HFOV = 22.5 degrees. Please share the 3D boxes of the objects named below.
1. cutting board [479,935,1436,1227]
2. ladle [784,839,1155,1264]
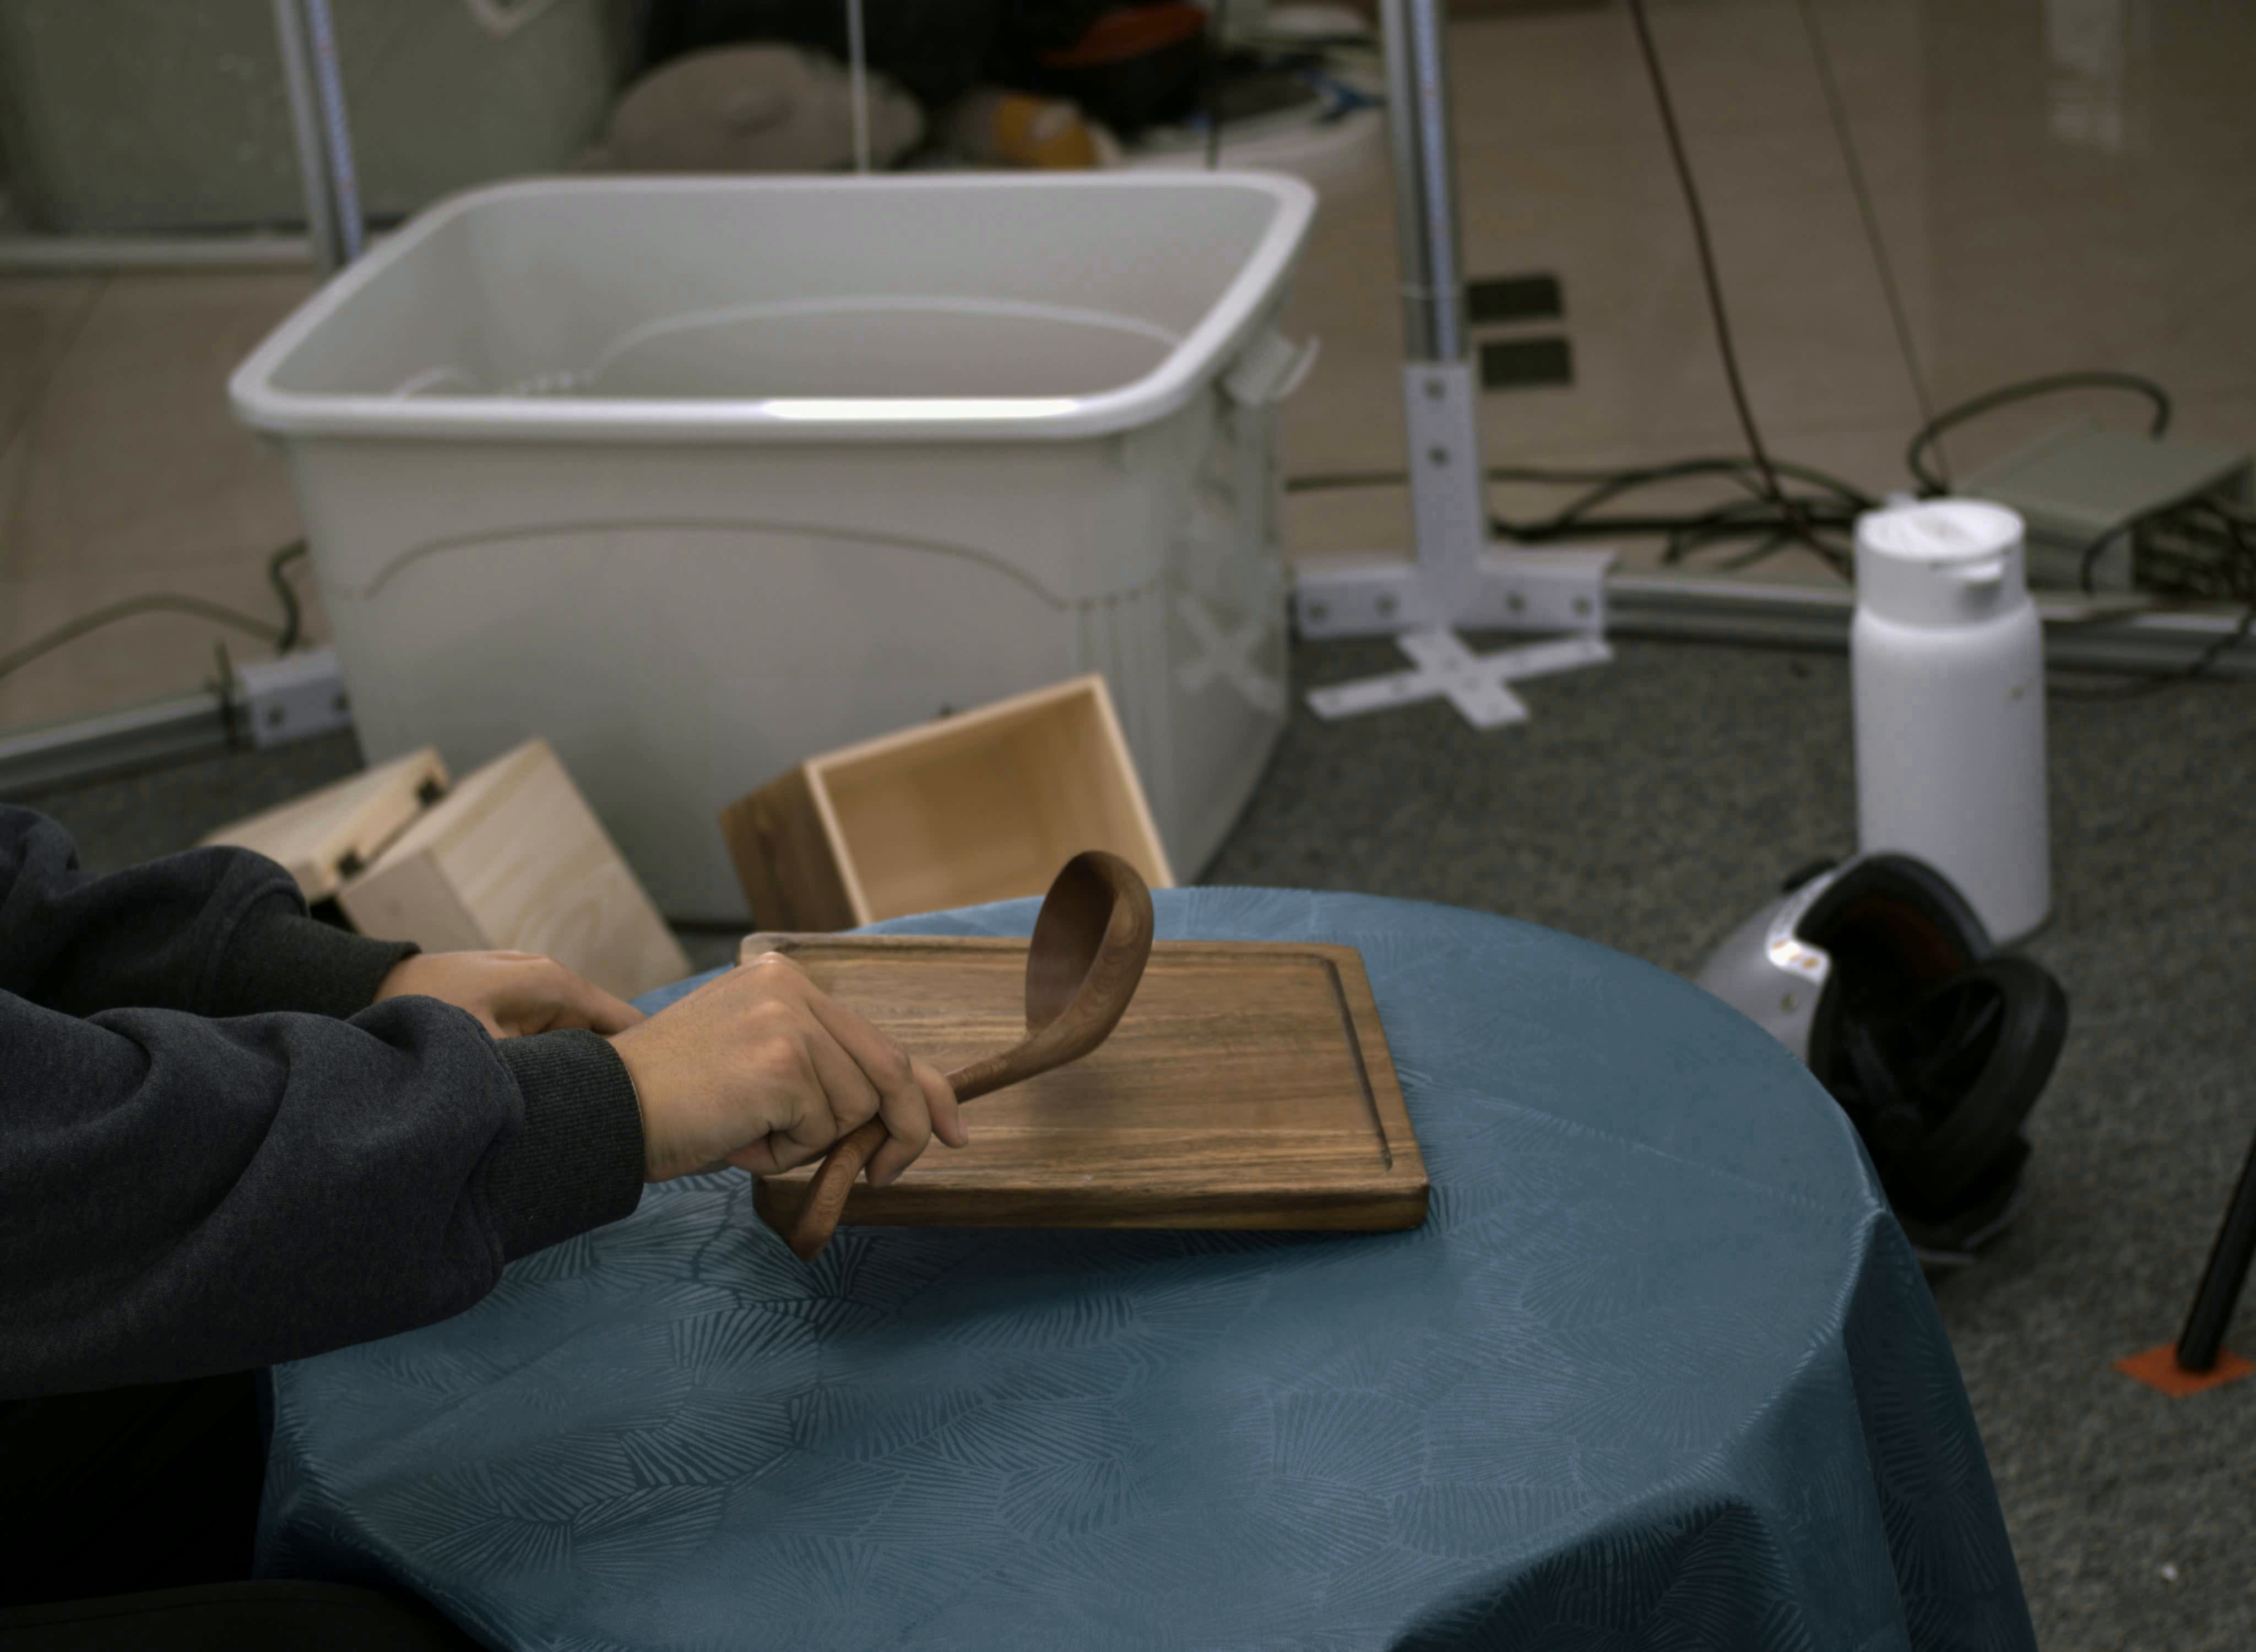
[{"bbox_3d":[-0.070,0.094,2.155,0.352,0.023,0.198,1,26,-8],"label":"cutting board"},{"bbox_3d":[-0.066,0.080,2.049,0.065,0.078,0.257,40,39,12],"label":"ladle"}]
